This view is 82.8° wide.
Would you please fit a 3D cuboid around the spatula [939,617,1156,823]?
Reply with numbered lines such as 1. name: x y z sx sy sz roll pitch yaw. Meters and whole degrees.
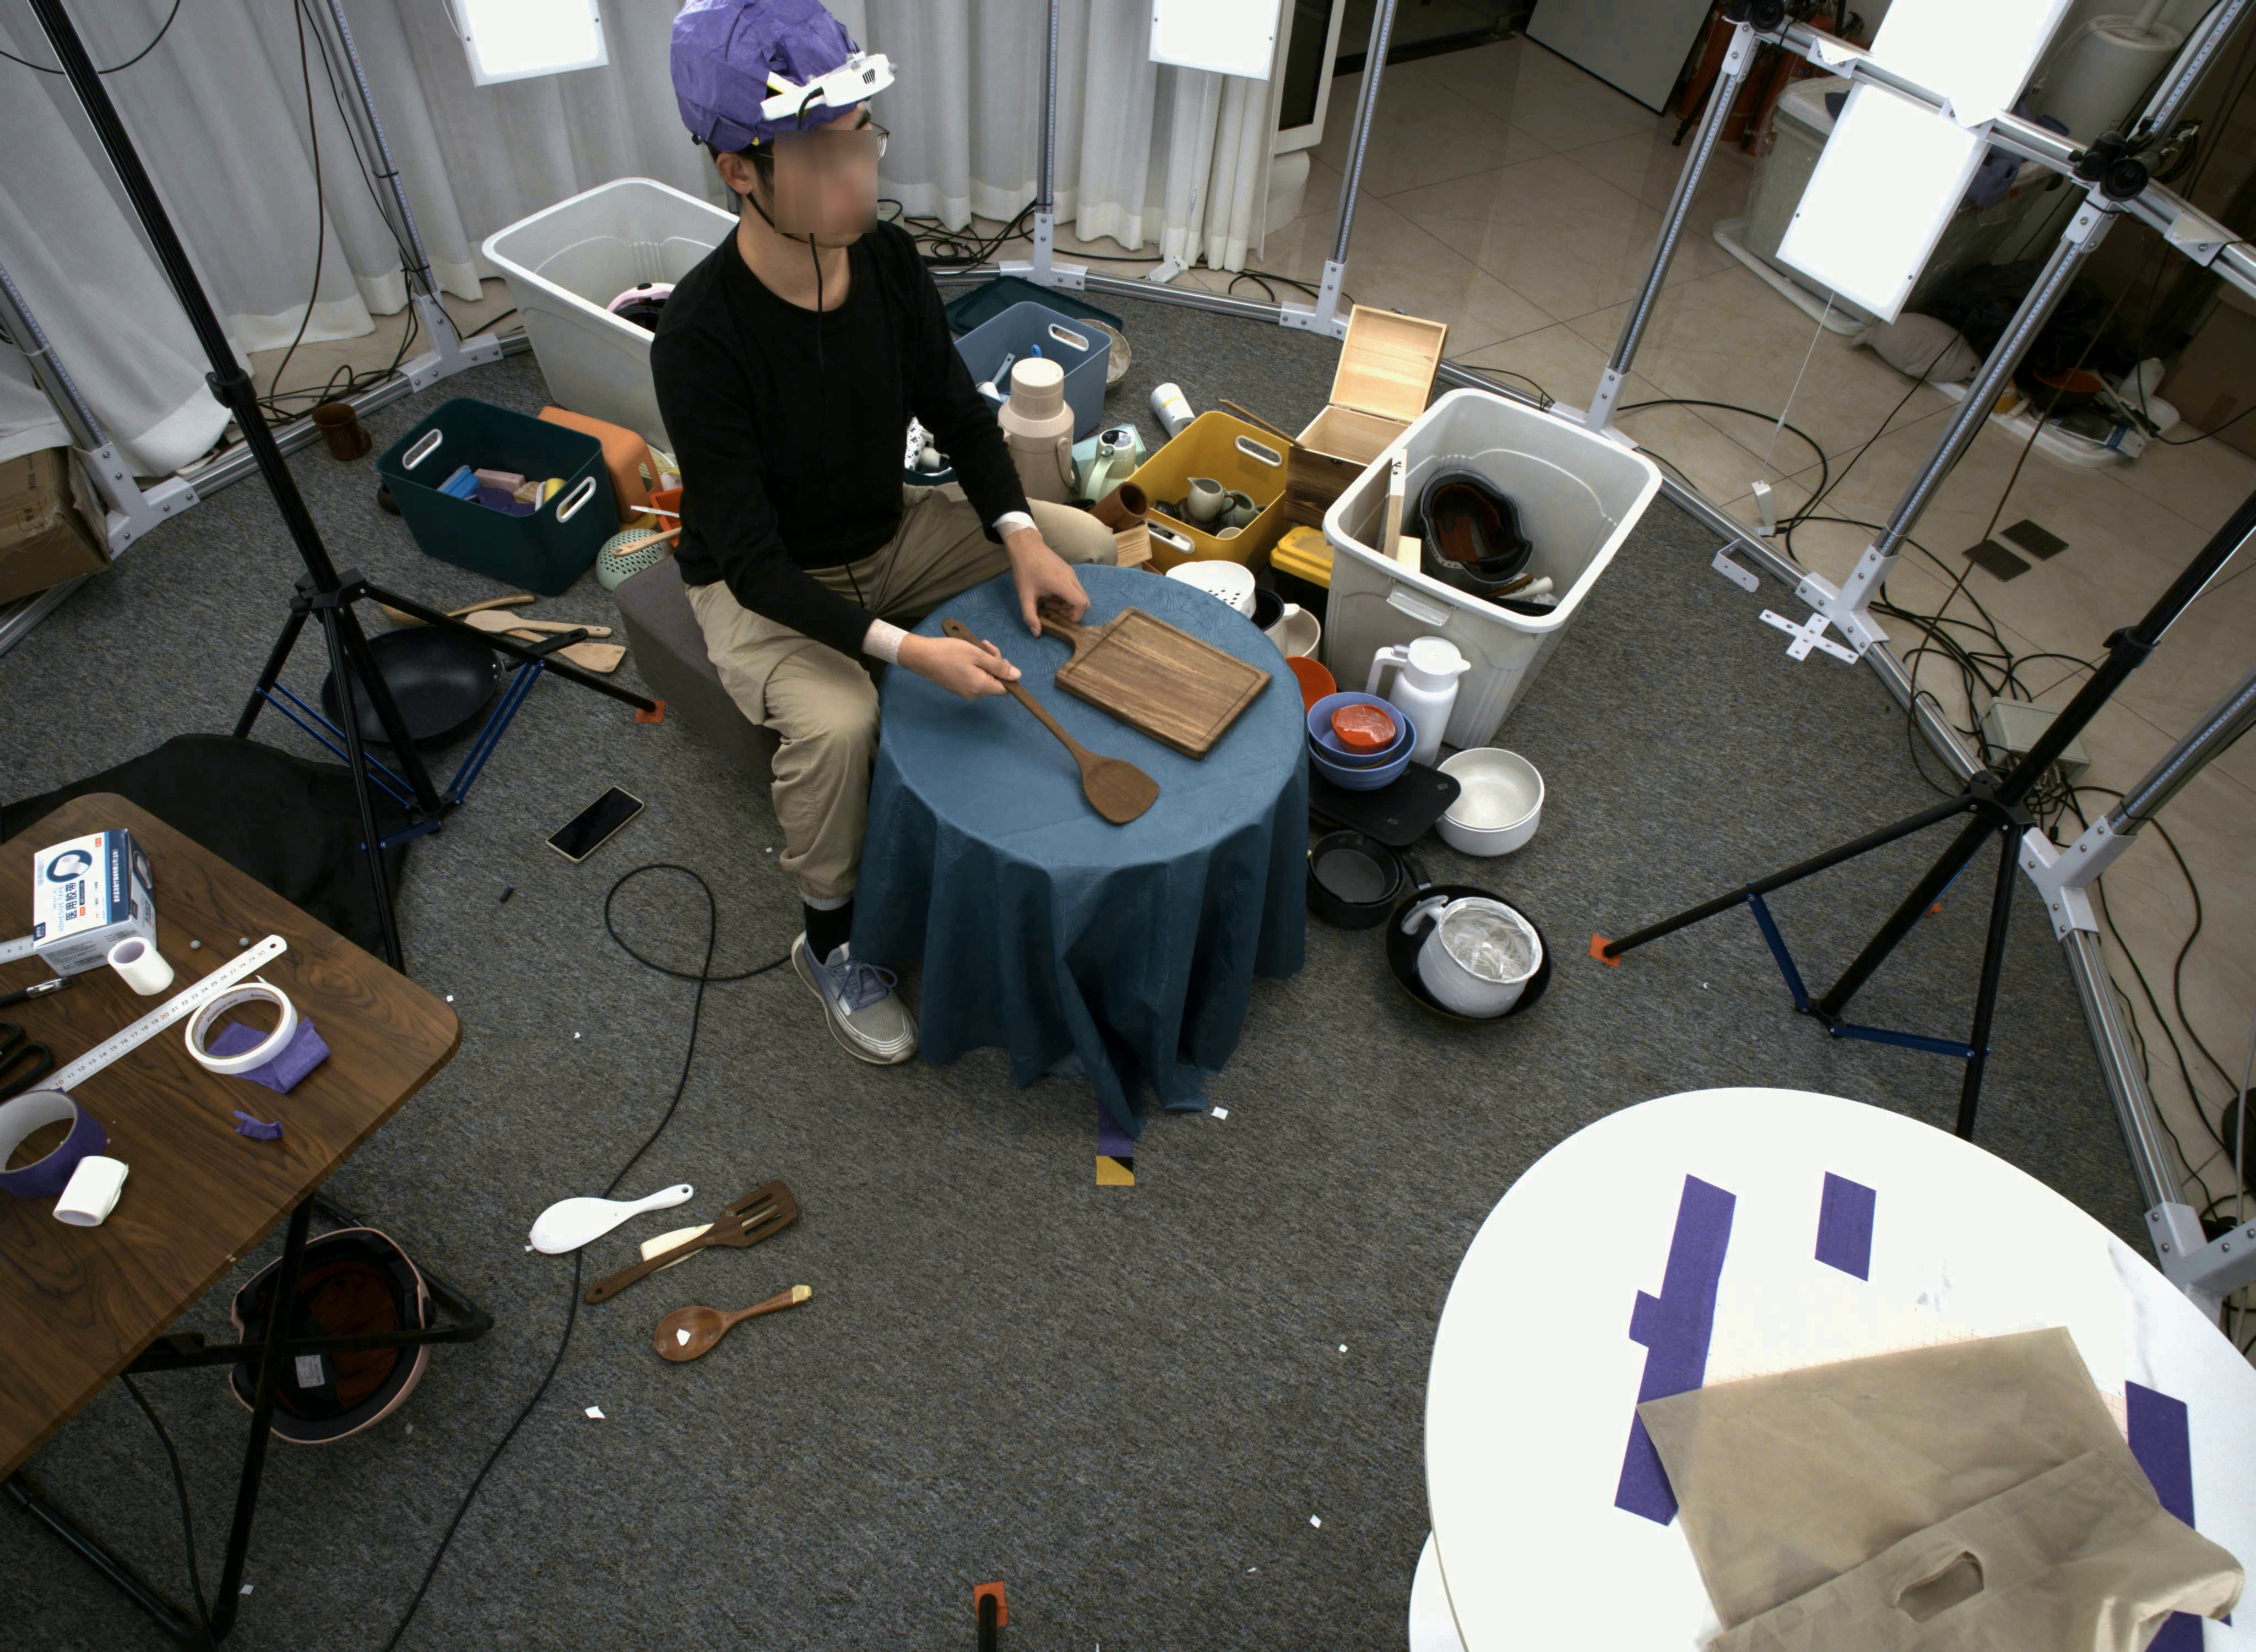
1. spatula: -0.119 -0.152 1.726 0.389 0.015 0.097 44 59 11

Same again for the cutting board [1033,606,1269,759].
1. cutting board: 0.009 -0.235 1.861 0.355 0.022 0.204 29 53 20
